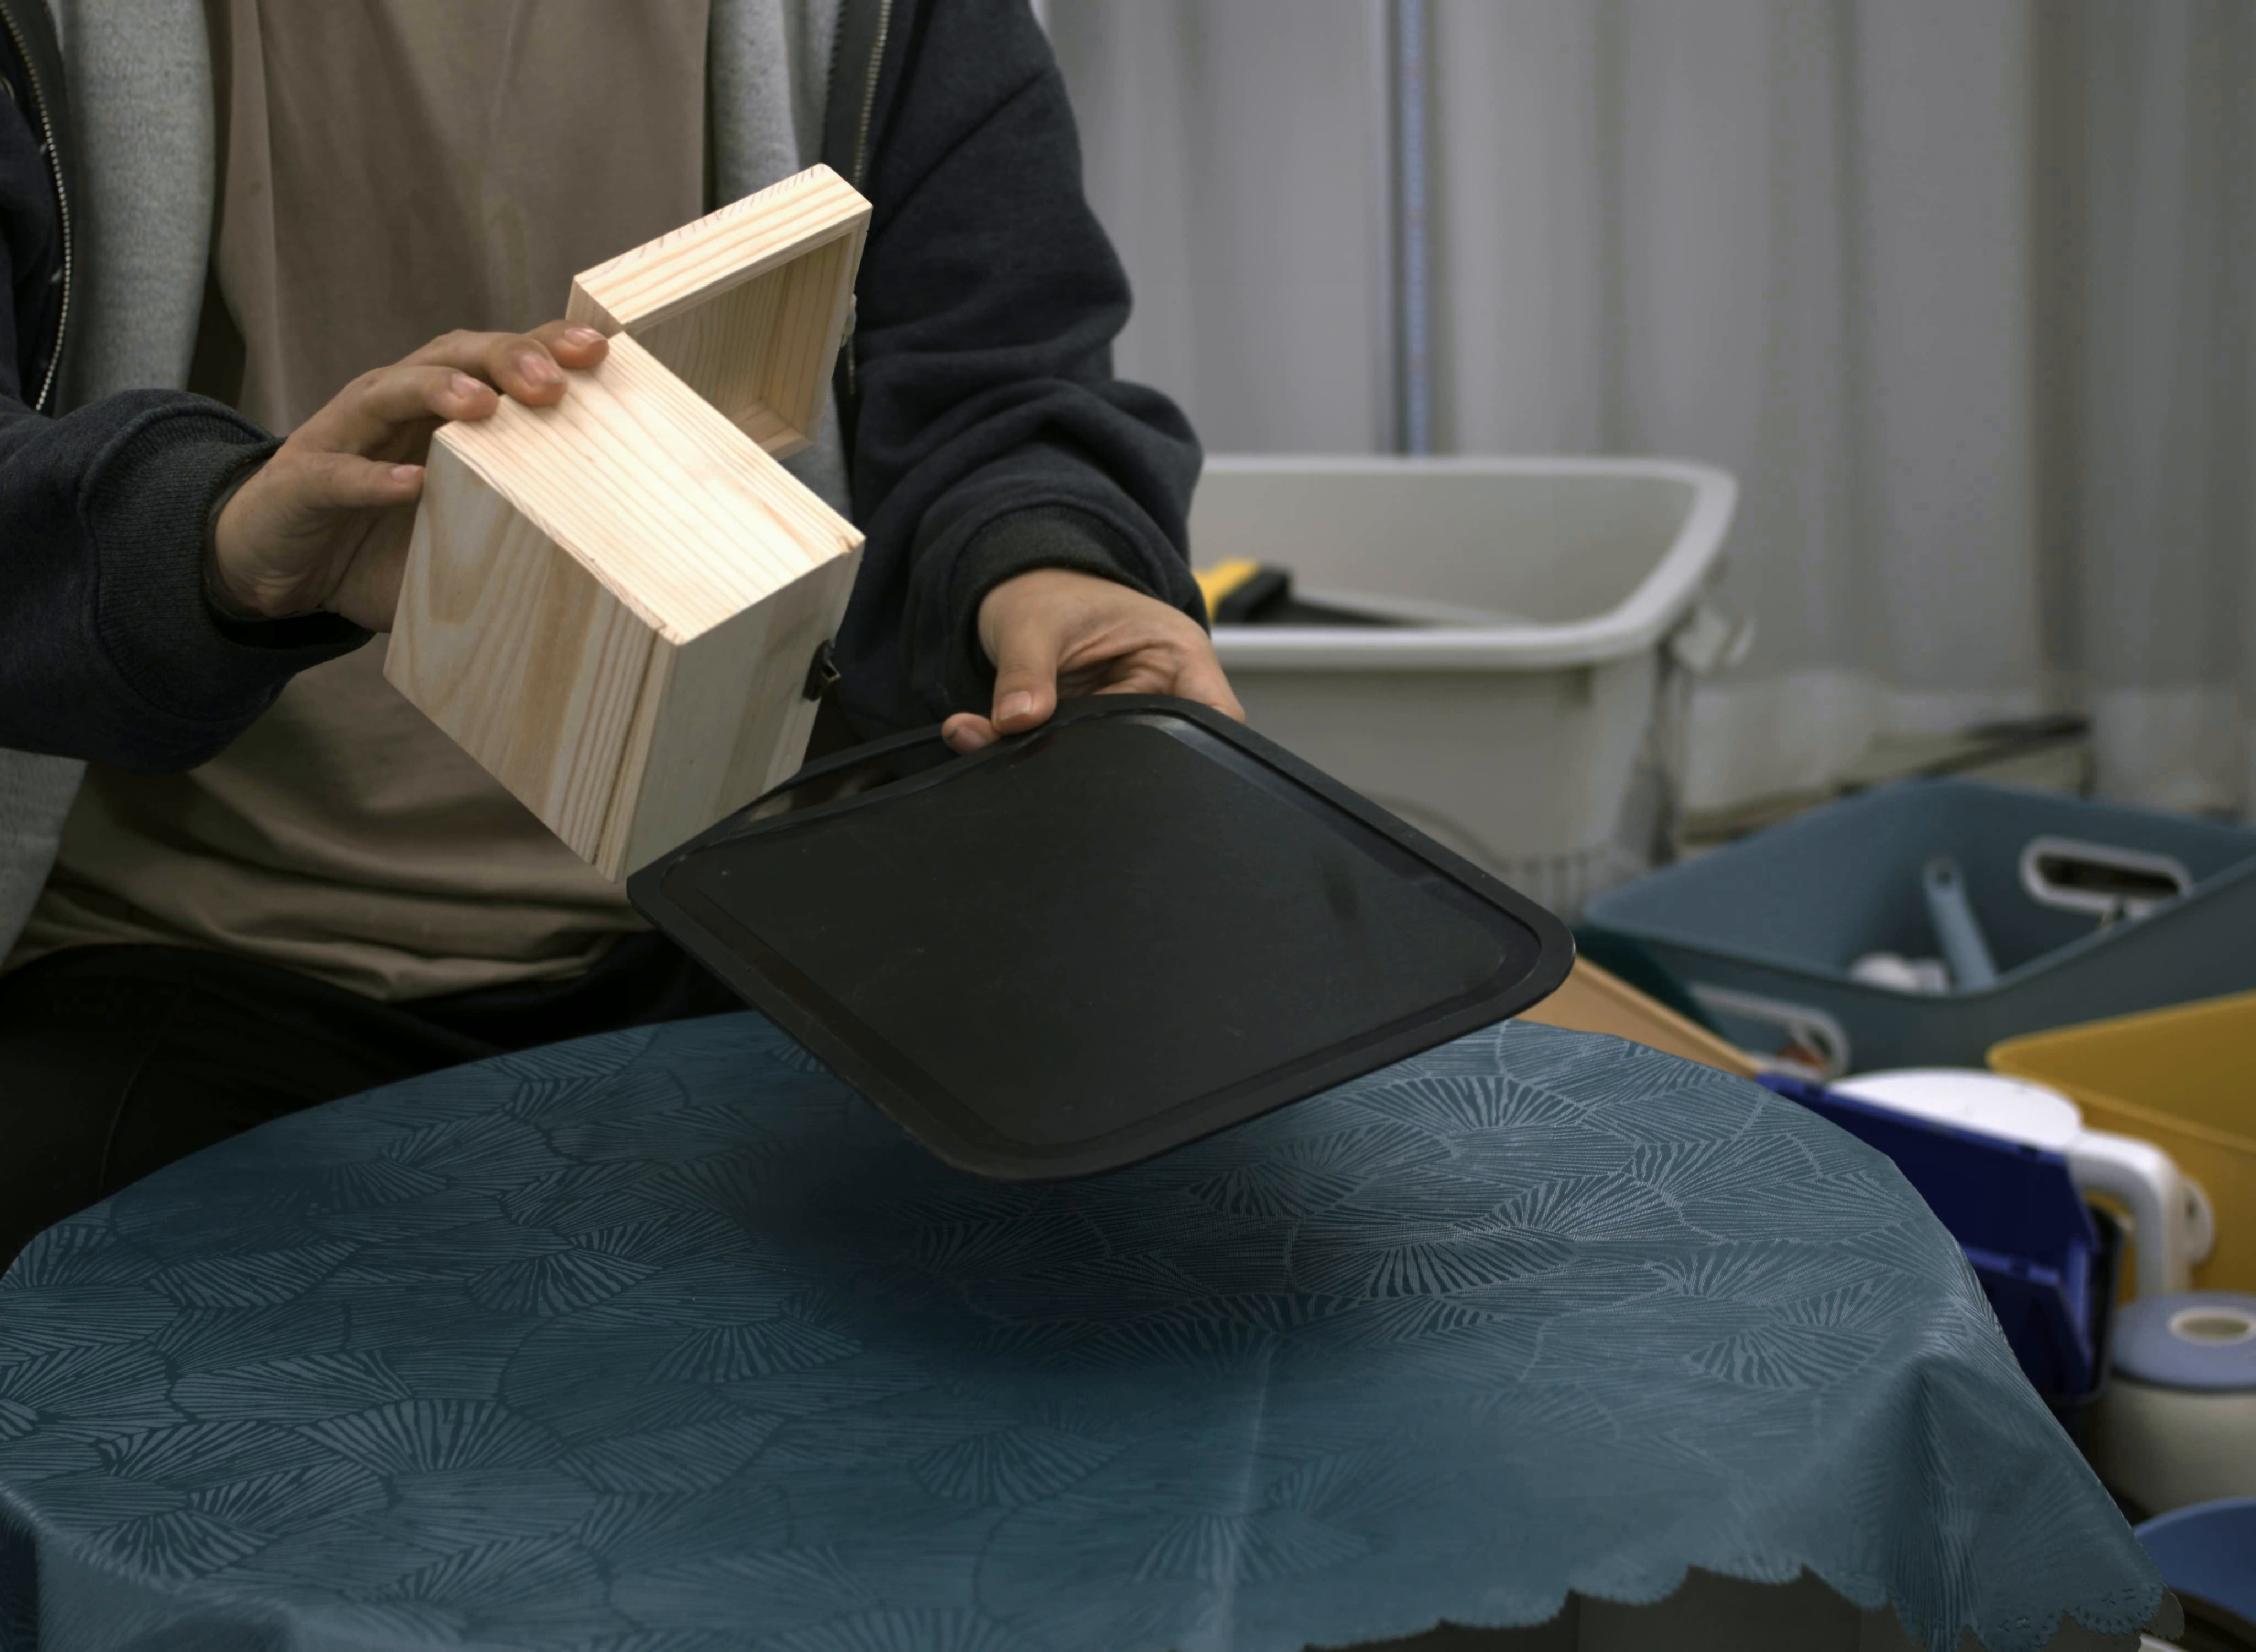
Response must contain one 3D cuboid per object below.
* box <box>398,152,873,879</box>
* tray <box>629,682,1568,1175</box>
[{"bbox_3d":[-0.117,-0.094,1.619,0.135,0.101,0.185,39,49,19],"label":"box"},{"bbox_3d":[-0.020,0.022,1.691,0.210,0.010,0.329,-20,27,-21],"label":"tray"}]
